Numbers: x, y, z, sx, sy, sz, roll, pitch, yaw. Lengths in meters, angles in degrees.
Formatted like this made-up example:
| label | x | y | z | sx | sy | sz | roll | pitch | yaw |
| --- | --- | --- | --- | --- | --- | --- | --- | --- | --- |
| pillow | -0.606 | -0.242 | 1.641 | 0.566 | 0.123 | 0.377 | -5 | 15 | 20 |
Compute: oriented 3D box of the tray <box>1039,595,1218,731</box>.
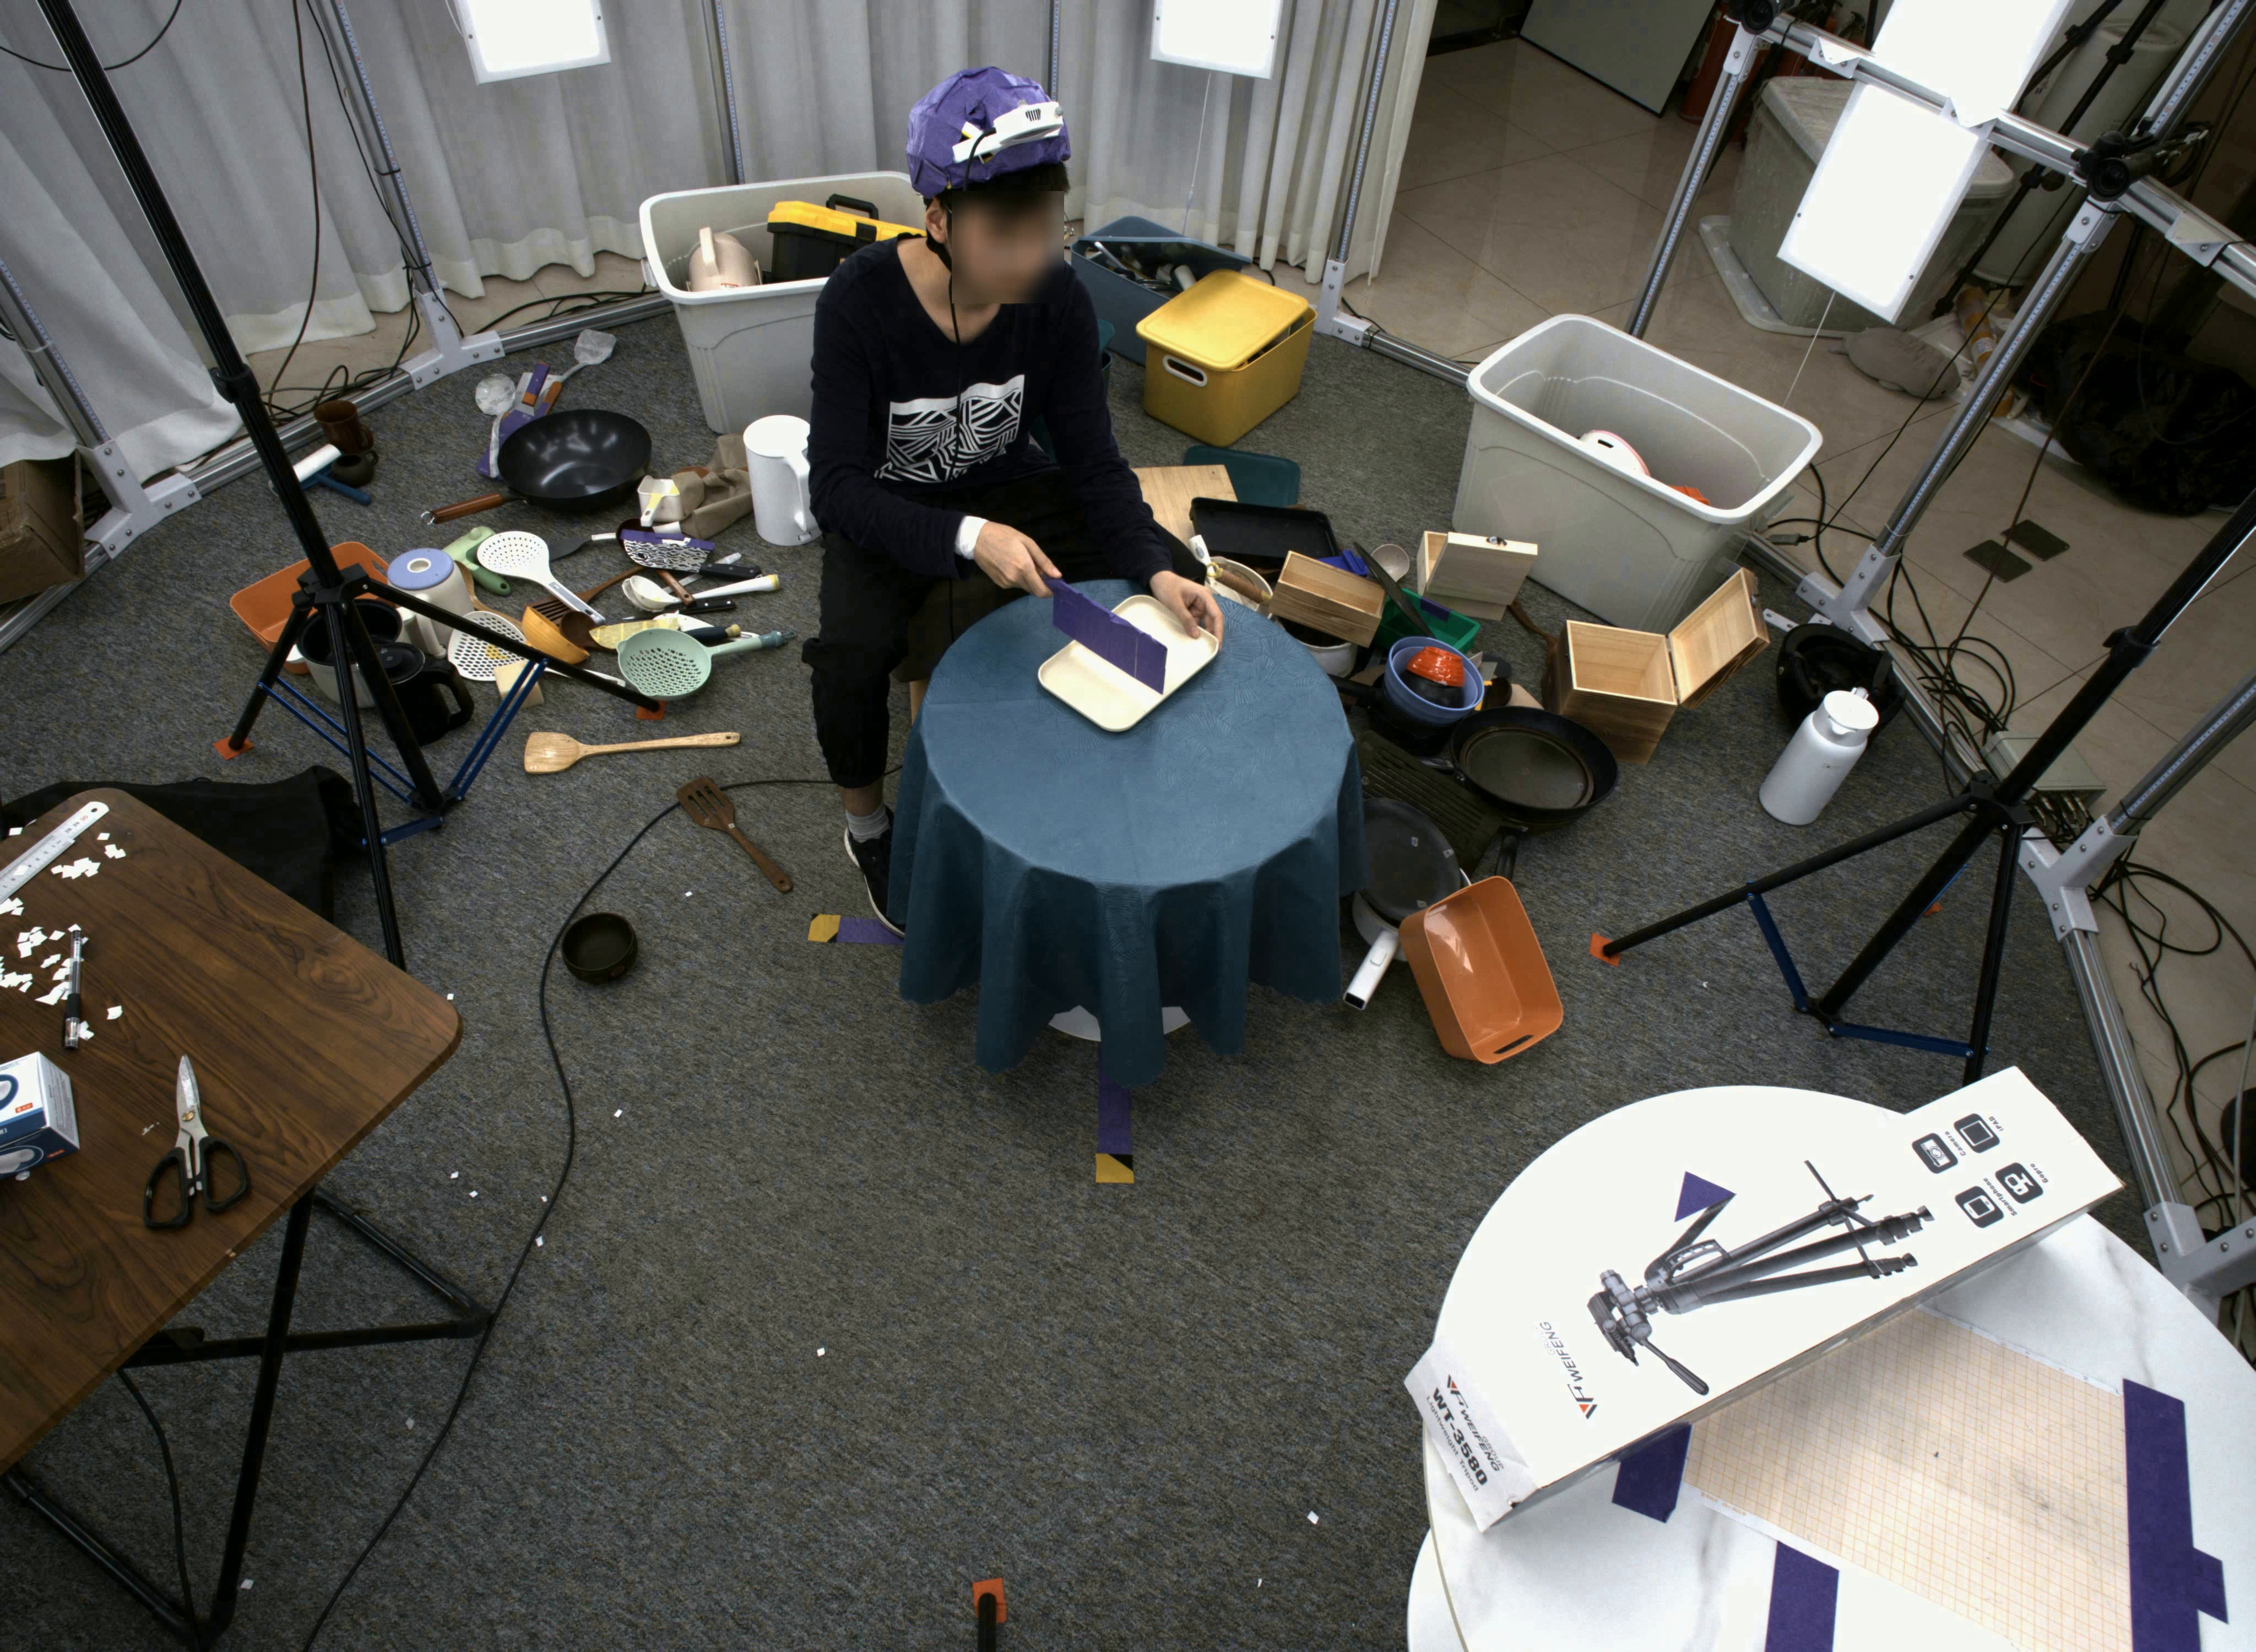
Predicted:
| label | x | y | z | sx | sy | sz | roll | pitch | yaw |
| --- | --- | --- | --- | --- | --- | --- | --- | --- | --- |
| tray | 0.001 | -0.237 | 1.852 | 0.173 | 0.017 | 0.242 | 35 | 59 | 24 |

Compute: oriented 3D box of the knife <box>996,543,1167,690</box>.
| label | x | y | z | sx | sy | sz | roll | pitch | yaw |
| --- | --- | --- | --- | --- | --- | --- | --- | --- | --- |
| knife | -0.068 | -0.292 | 1.816 | 0.320 | 0.101 | 0.032 | 37 | 55 | 25 |
